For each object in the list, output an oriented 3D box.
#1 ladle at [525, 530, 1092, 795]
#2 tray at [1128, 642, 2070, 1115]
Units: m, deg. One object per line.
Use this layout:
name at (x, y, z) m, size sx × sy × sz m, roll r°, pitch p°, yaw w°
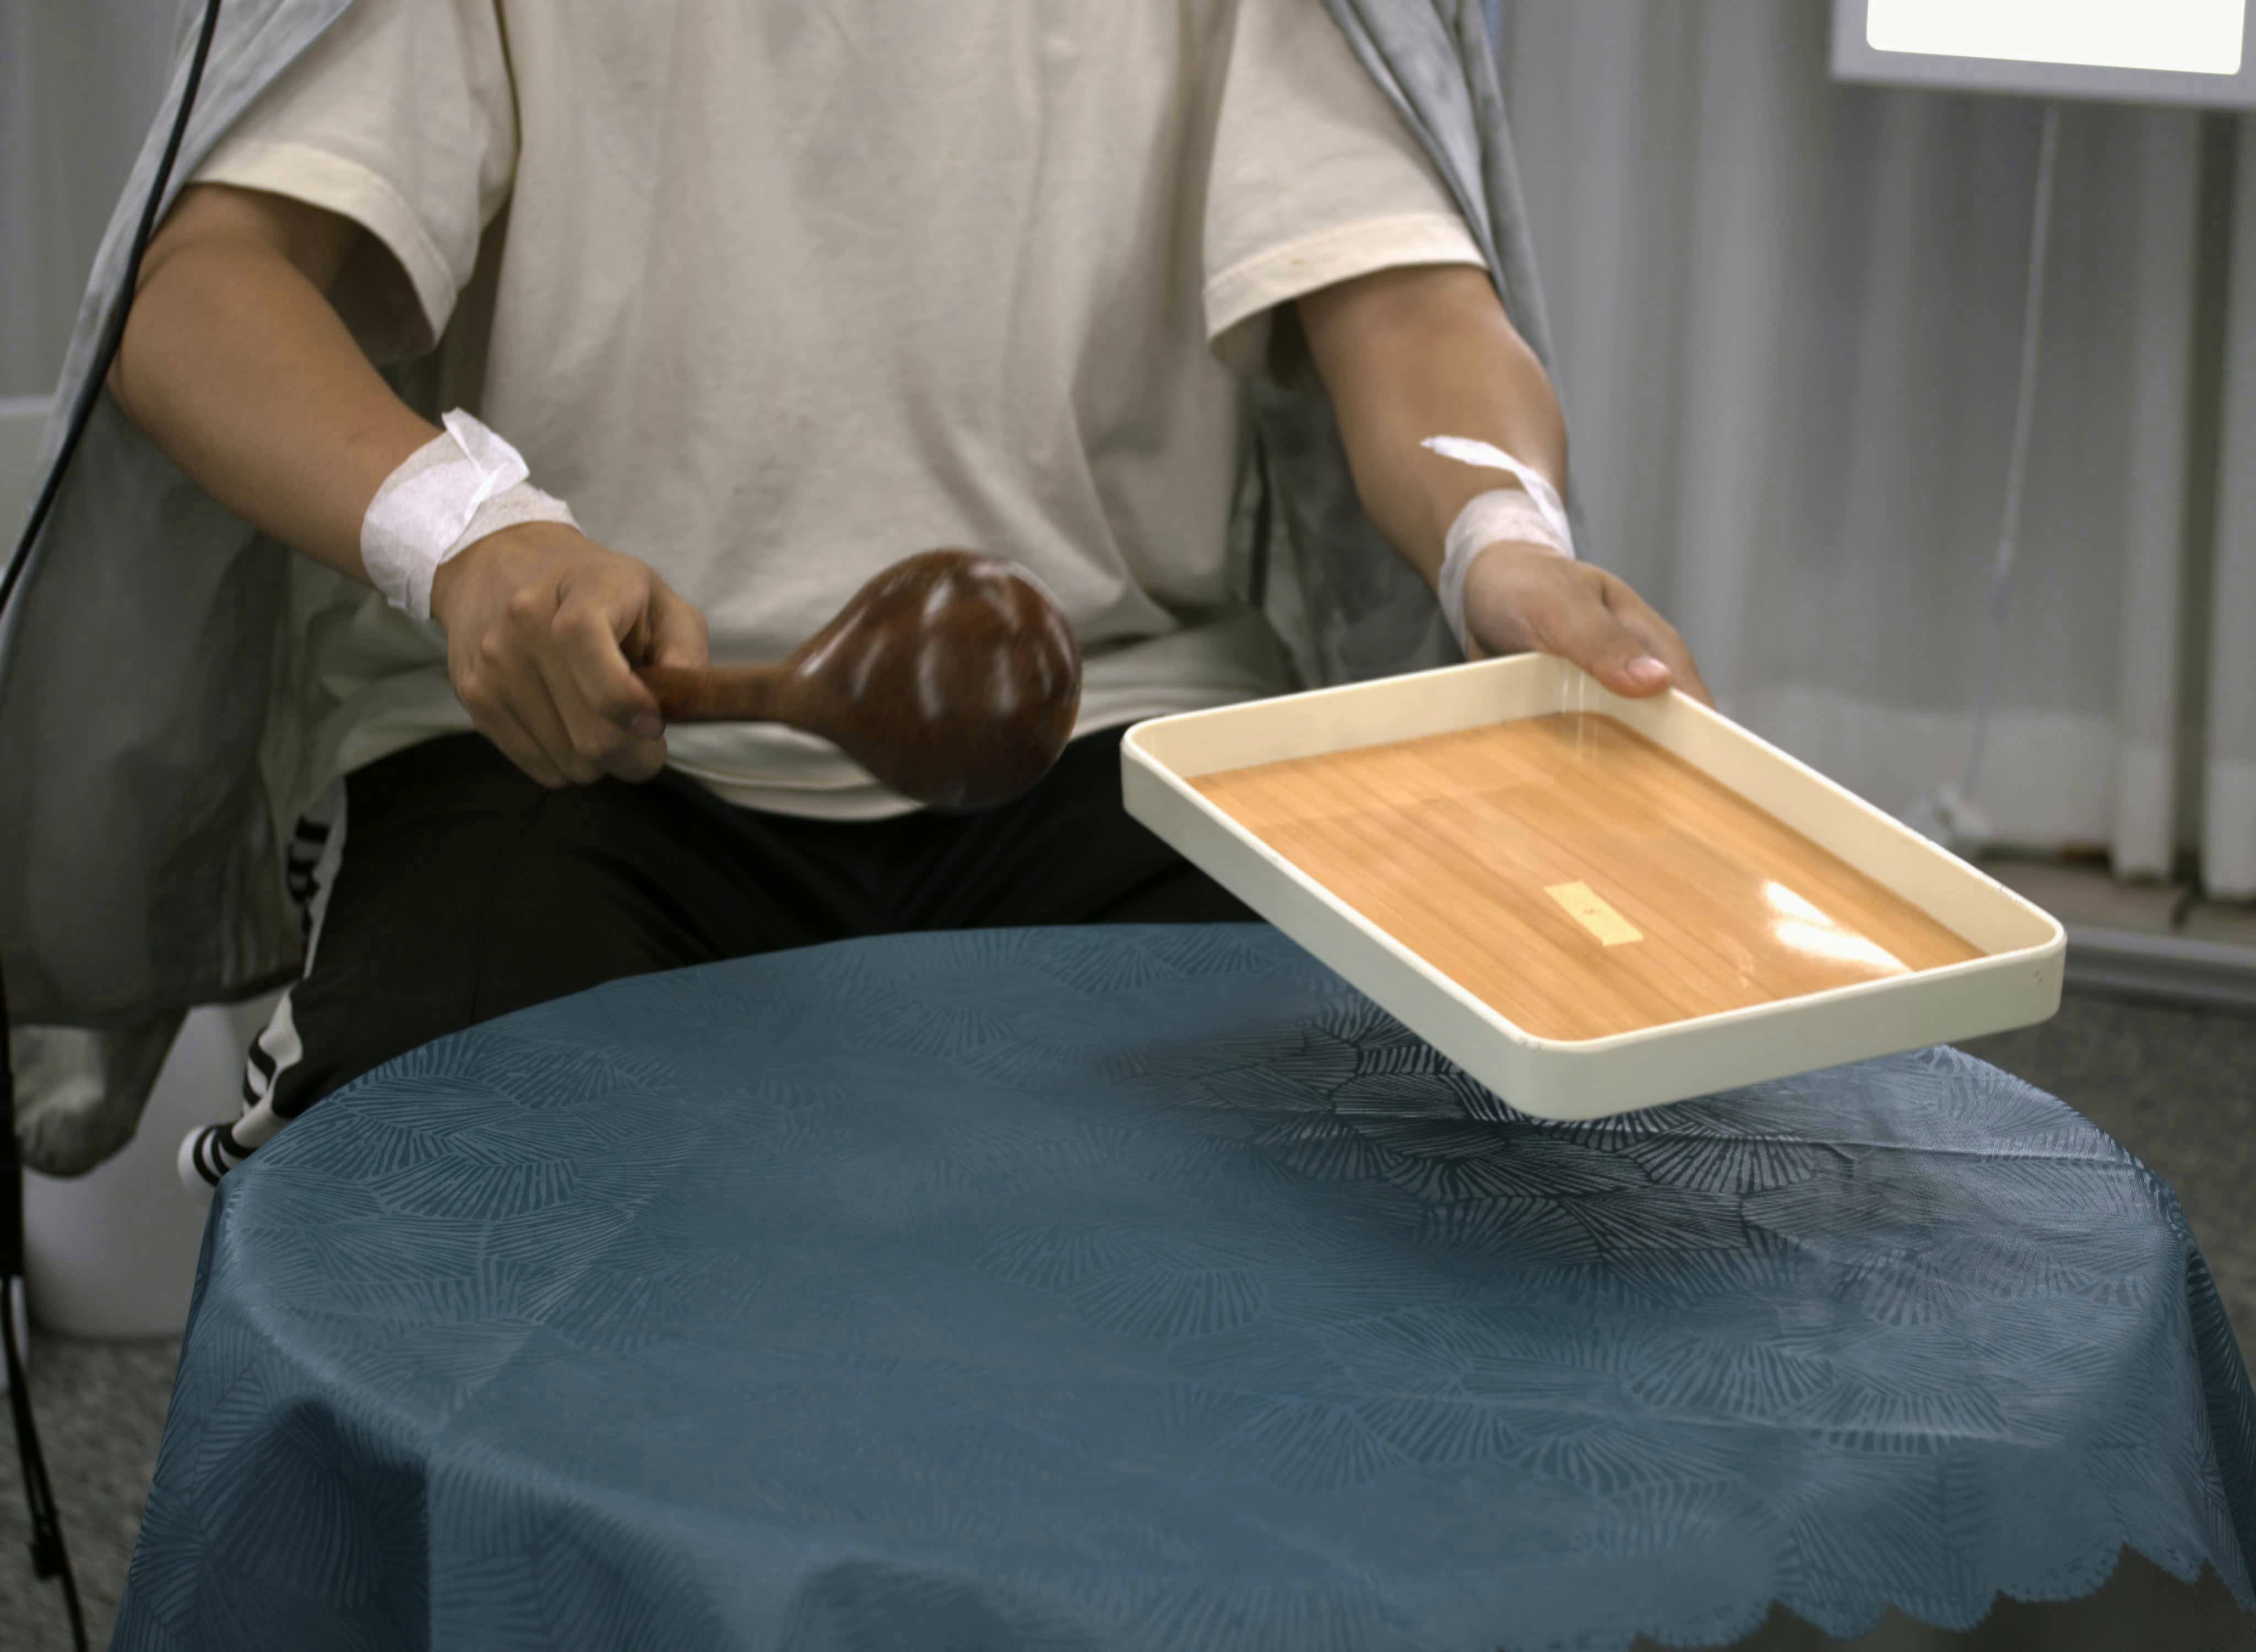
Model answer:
ladle at (-0.106, -0.047, 1.708) m, size 0.077 × 0.082 × 0.271 m, roll 3°, pitch -3°, yaw -30°
tray at (0.142, 0.011, 1.676) m, size 0.192 × 0.027 × 0.296 m, roll -11°, pitch 24°, yaw -23°
